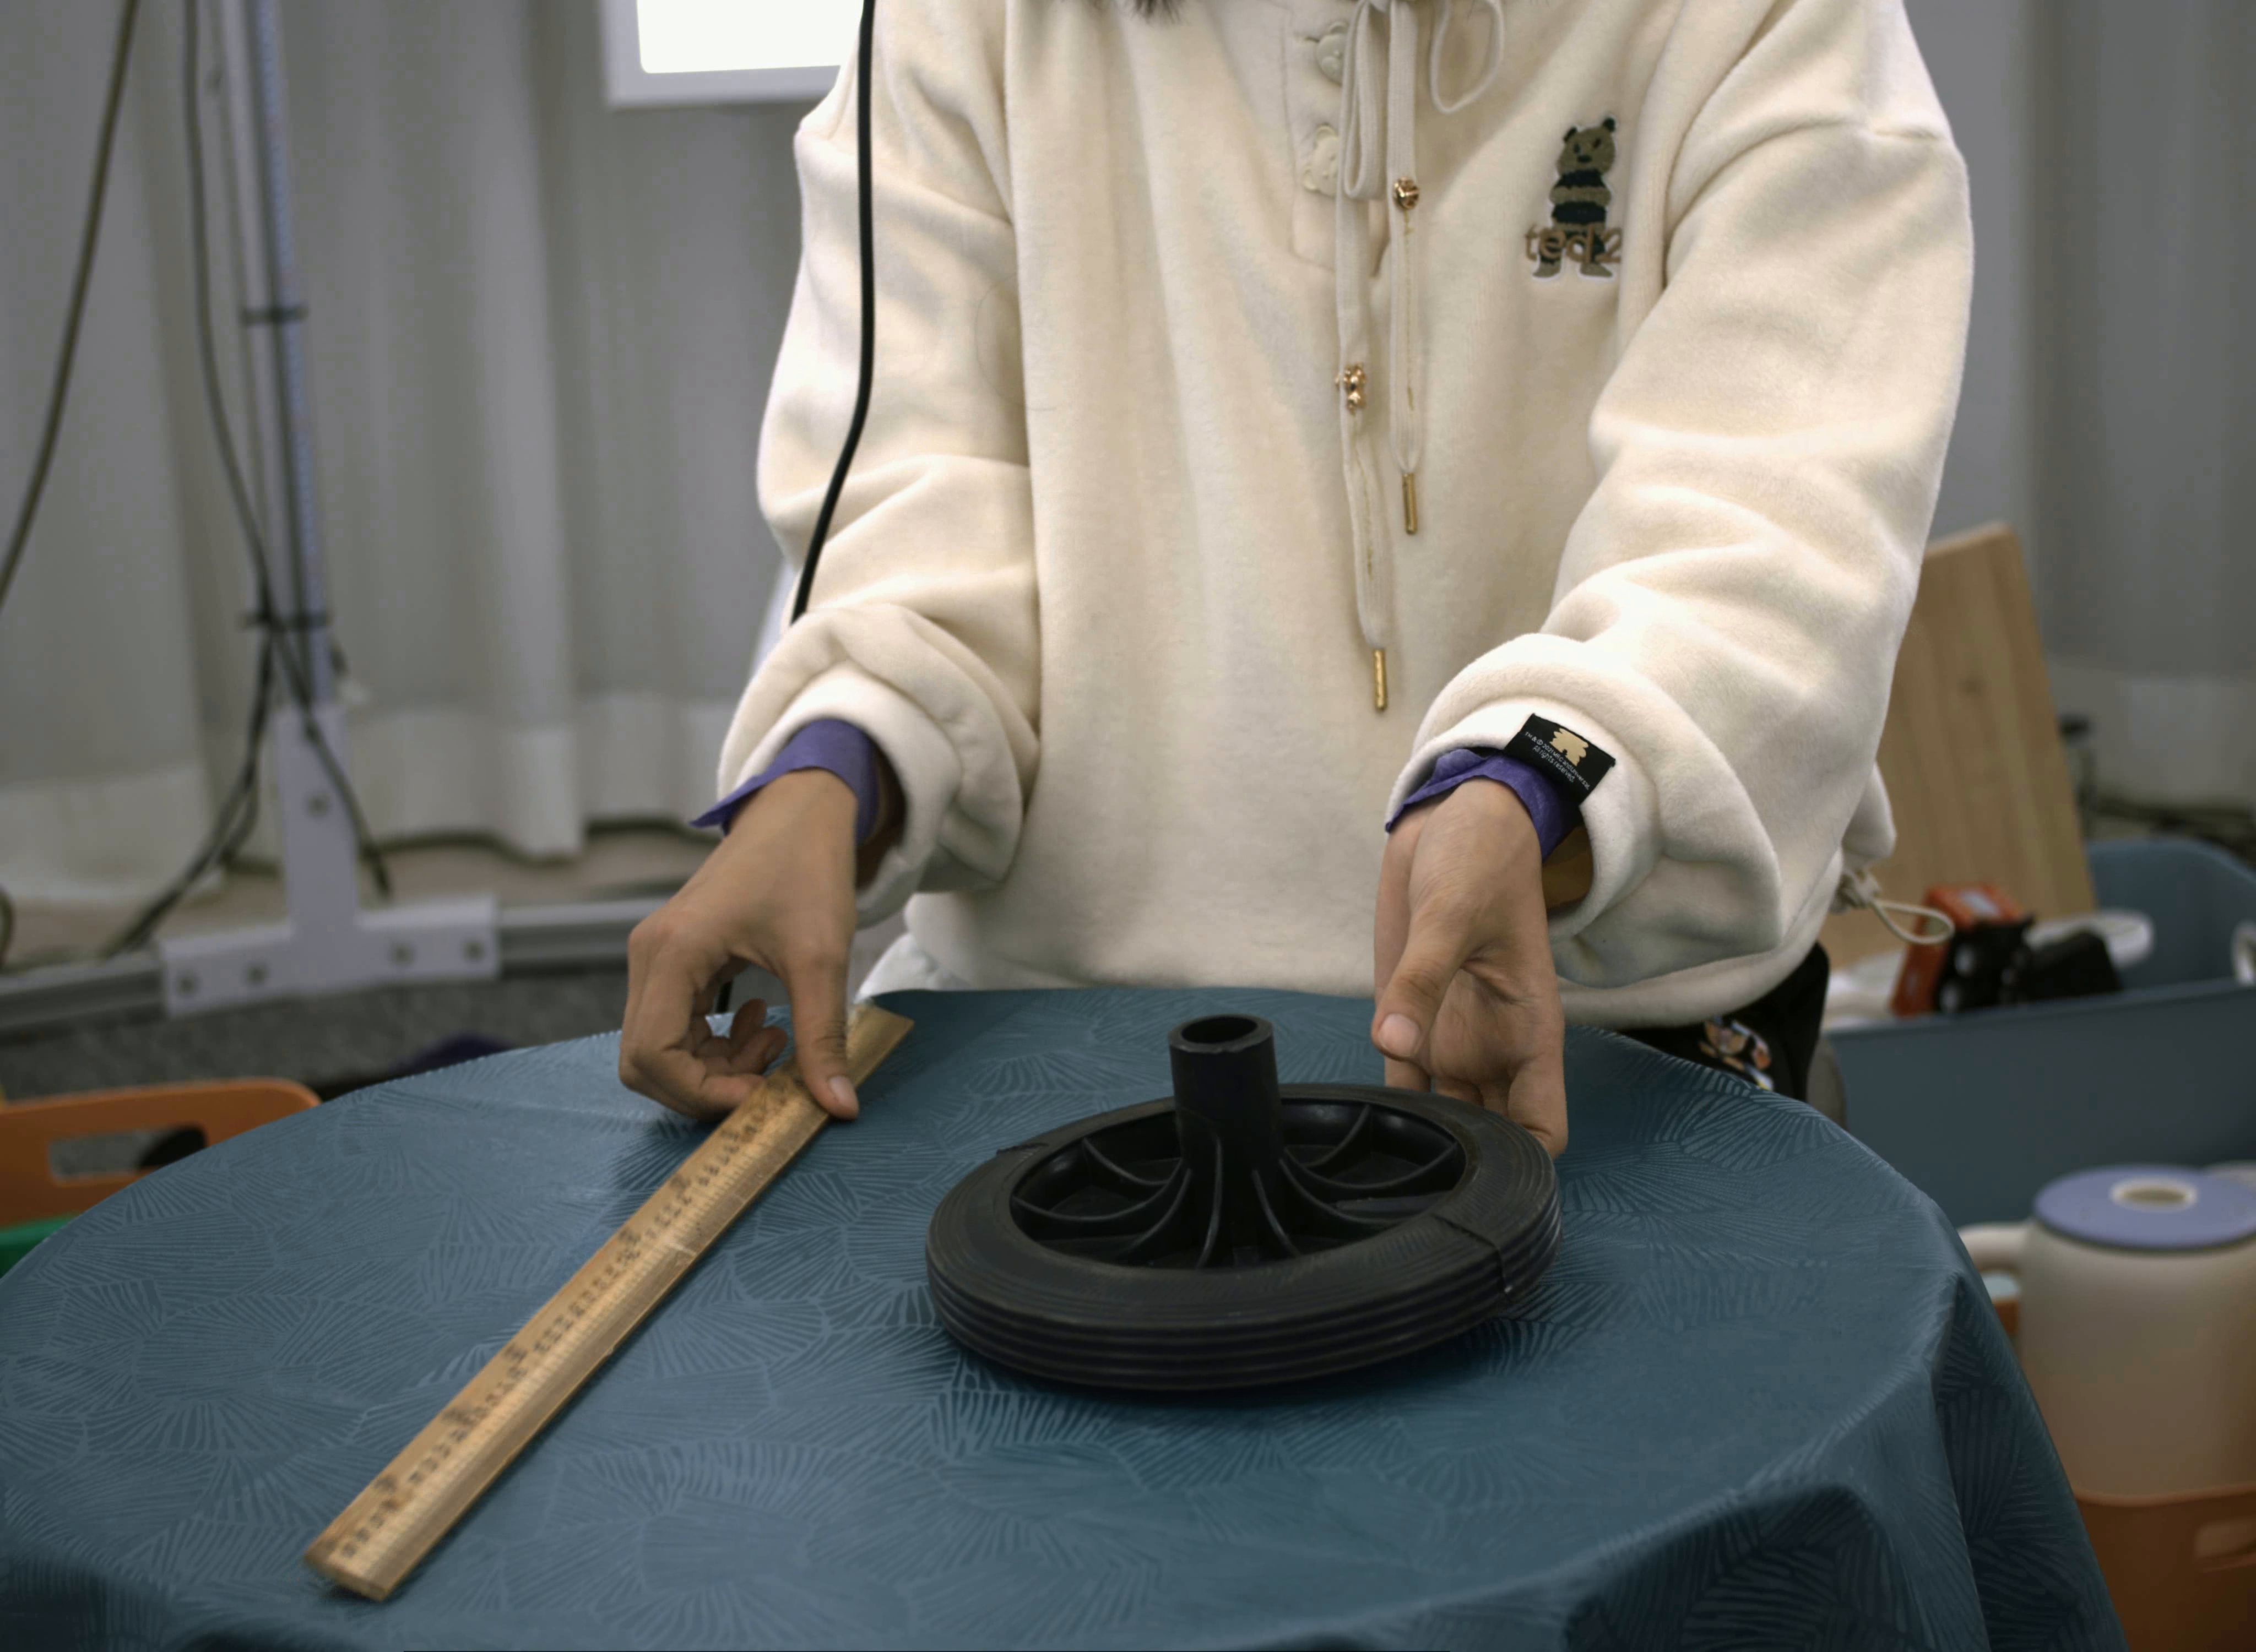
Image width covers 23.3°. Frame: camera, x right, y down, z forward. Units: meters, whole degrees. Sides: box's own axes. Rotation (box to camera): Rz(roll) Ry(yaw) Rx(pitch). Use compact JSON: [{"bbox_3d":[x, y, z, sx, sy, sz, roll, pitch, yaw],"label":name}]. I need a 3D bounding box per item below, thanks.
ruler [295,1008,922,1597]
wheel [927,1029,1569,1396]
[{"bbox_3d":[-0.145,0.131,1.657,0.027,0.006,0.502,17,19,10],"label":"ruler"},{"bbox_3d":[0.033,0.102,1.602,0.189,0.079,0.189,-10,18,-12],"label":"wheel"}]
